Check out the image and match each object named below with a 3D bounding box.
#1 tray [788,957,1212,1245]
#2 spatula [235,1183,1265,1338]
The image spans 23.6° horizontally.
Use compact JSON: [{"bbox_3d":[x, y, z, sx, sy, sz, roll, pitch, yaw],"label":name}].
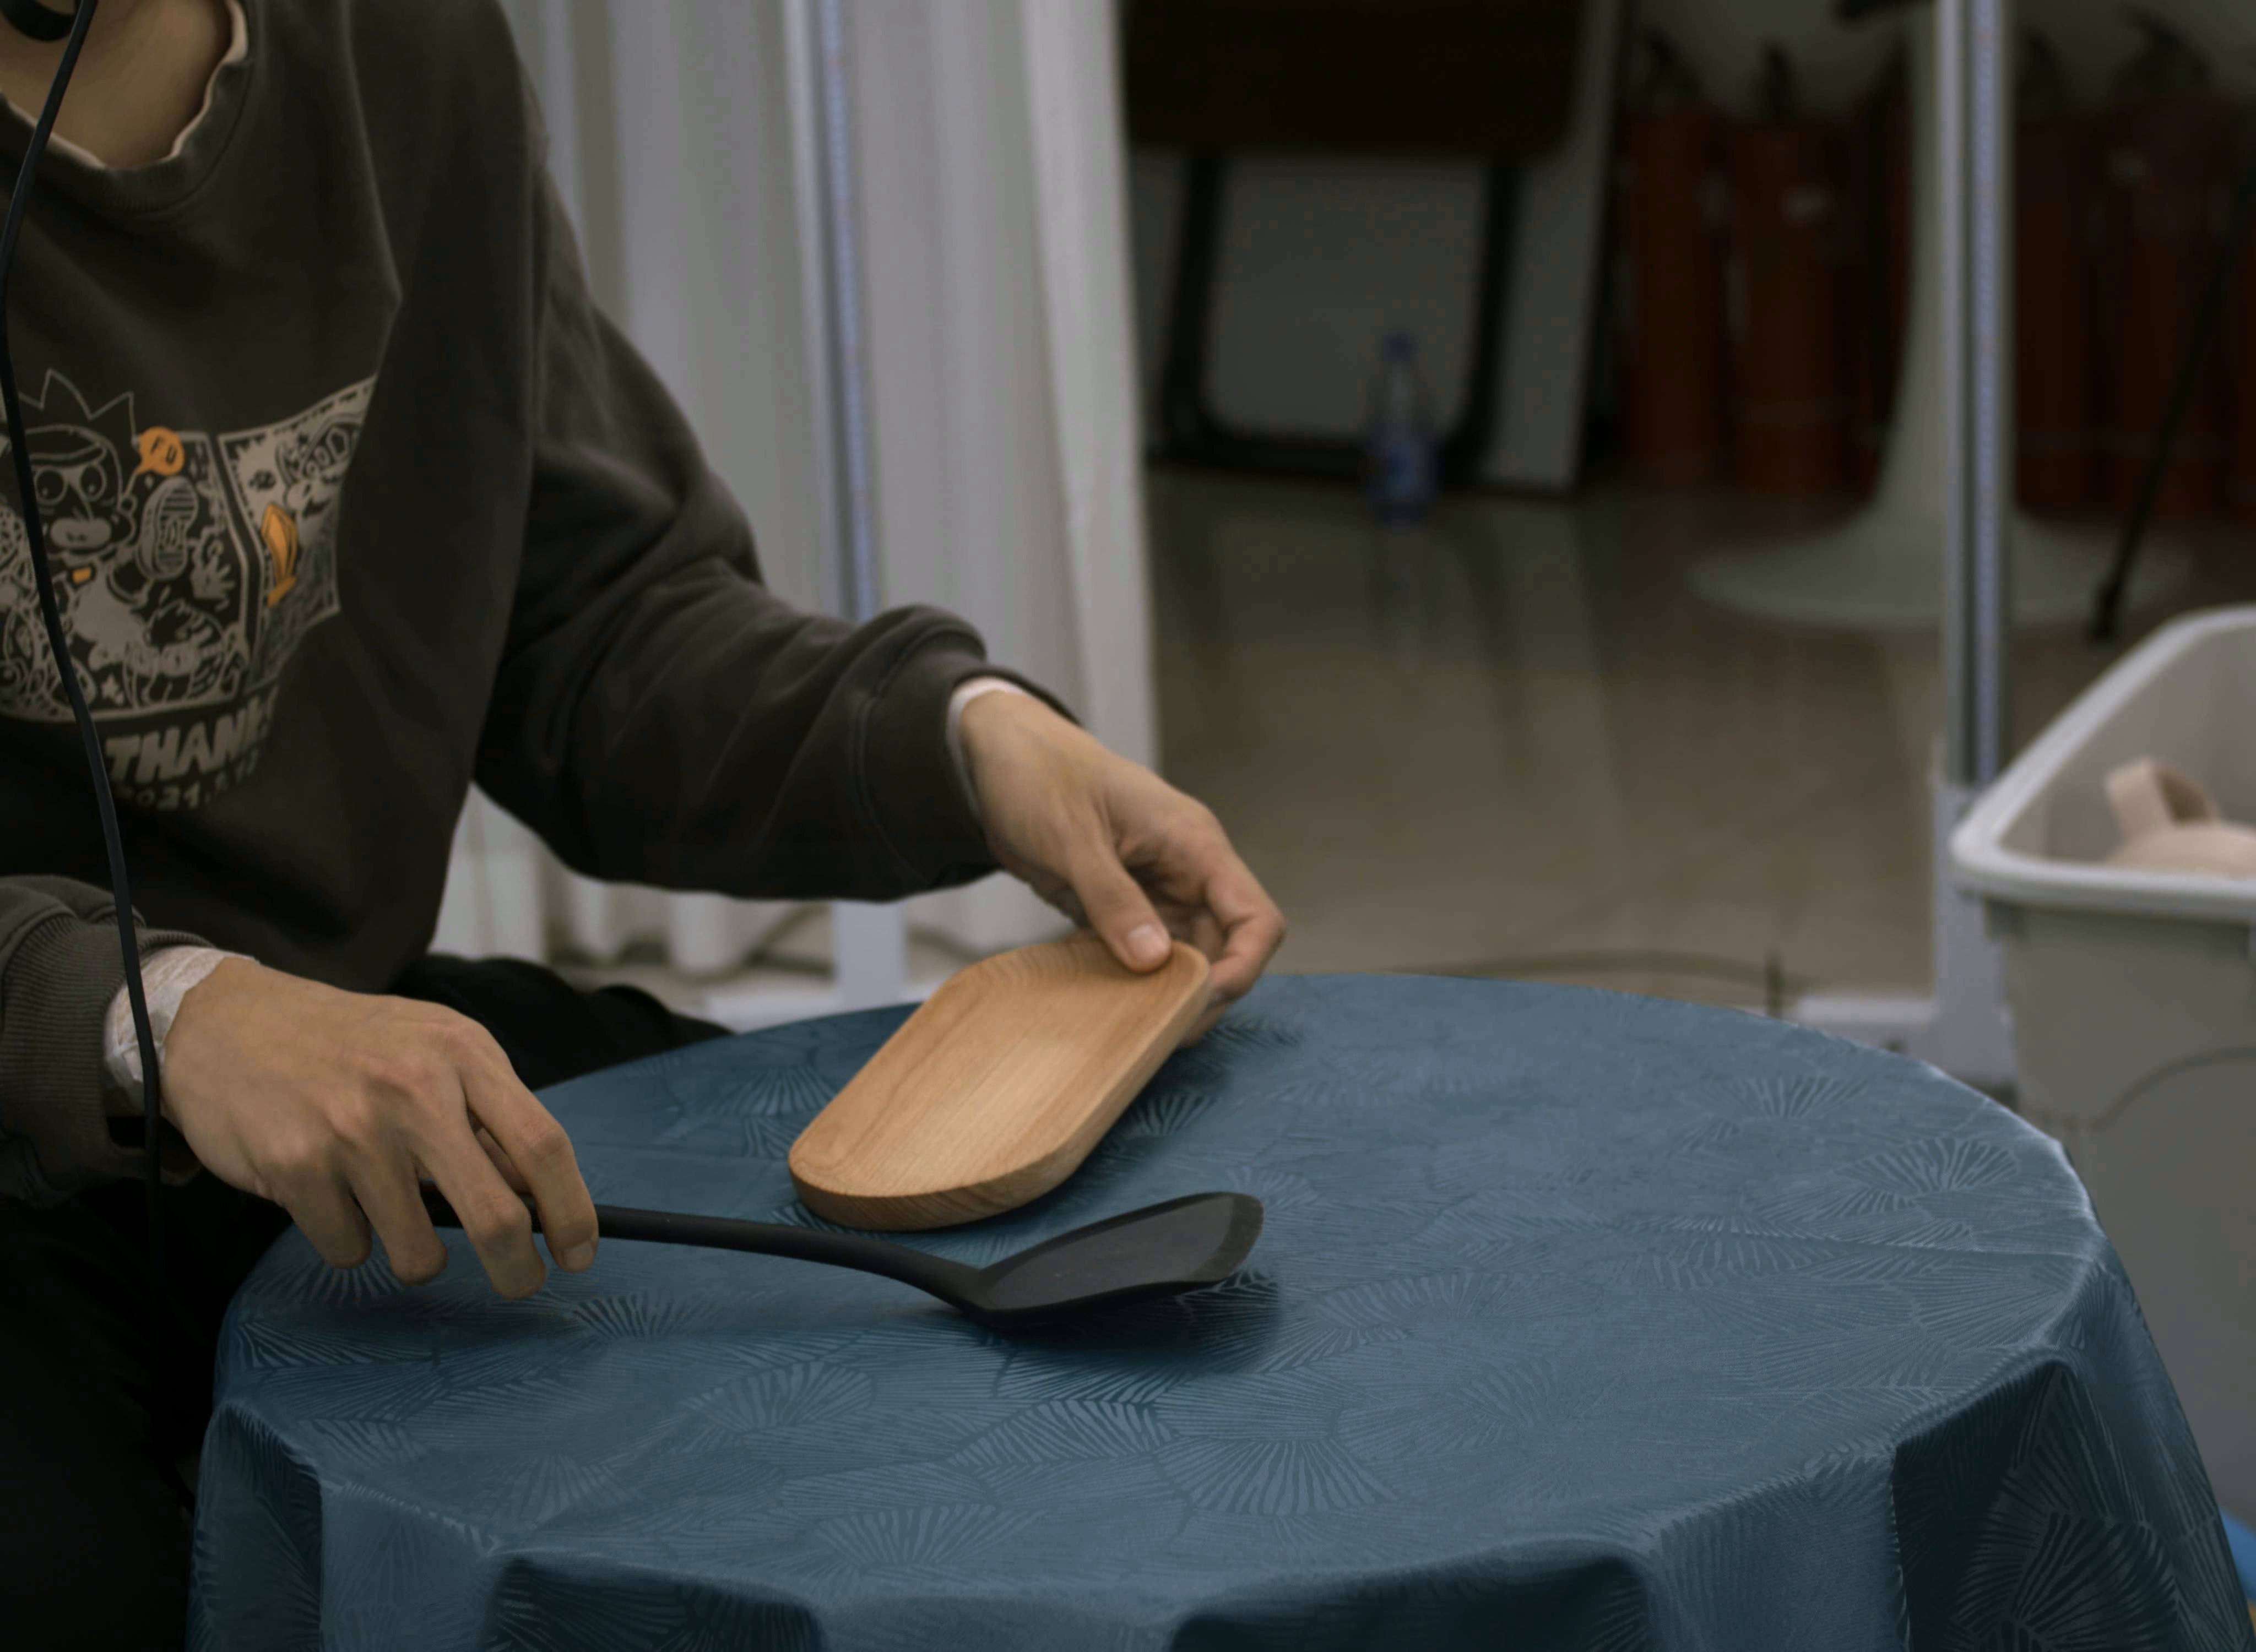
[{"bbox_3d":[-0.040,0.092,1.838,0.101,0.020,0.229,-4,19,21],"label":"tray"},{"bbox_3d":[-0.119,0.124,1.673,0.323,0.041,0.099,8,11,8],"label":"spatula"}]
